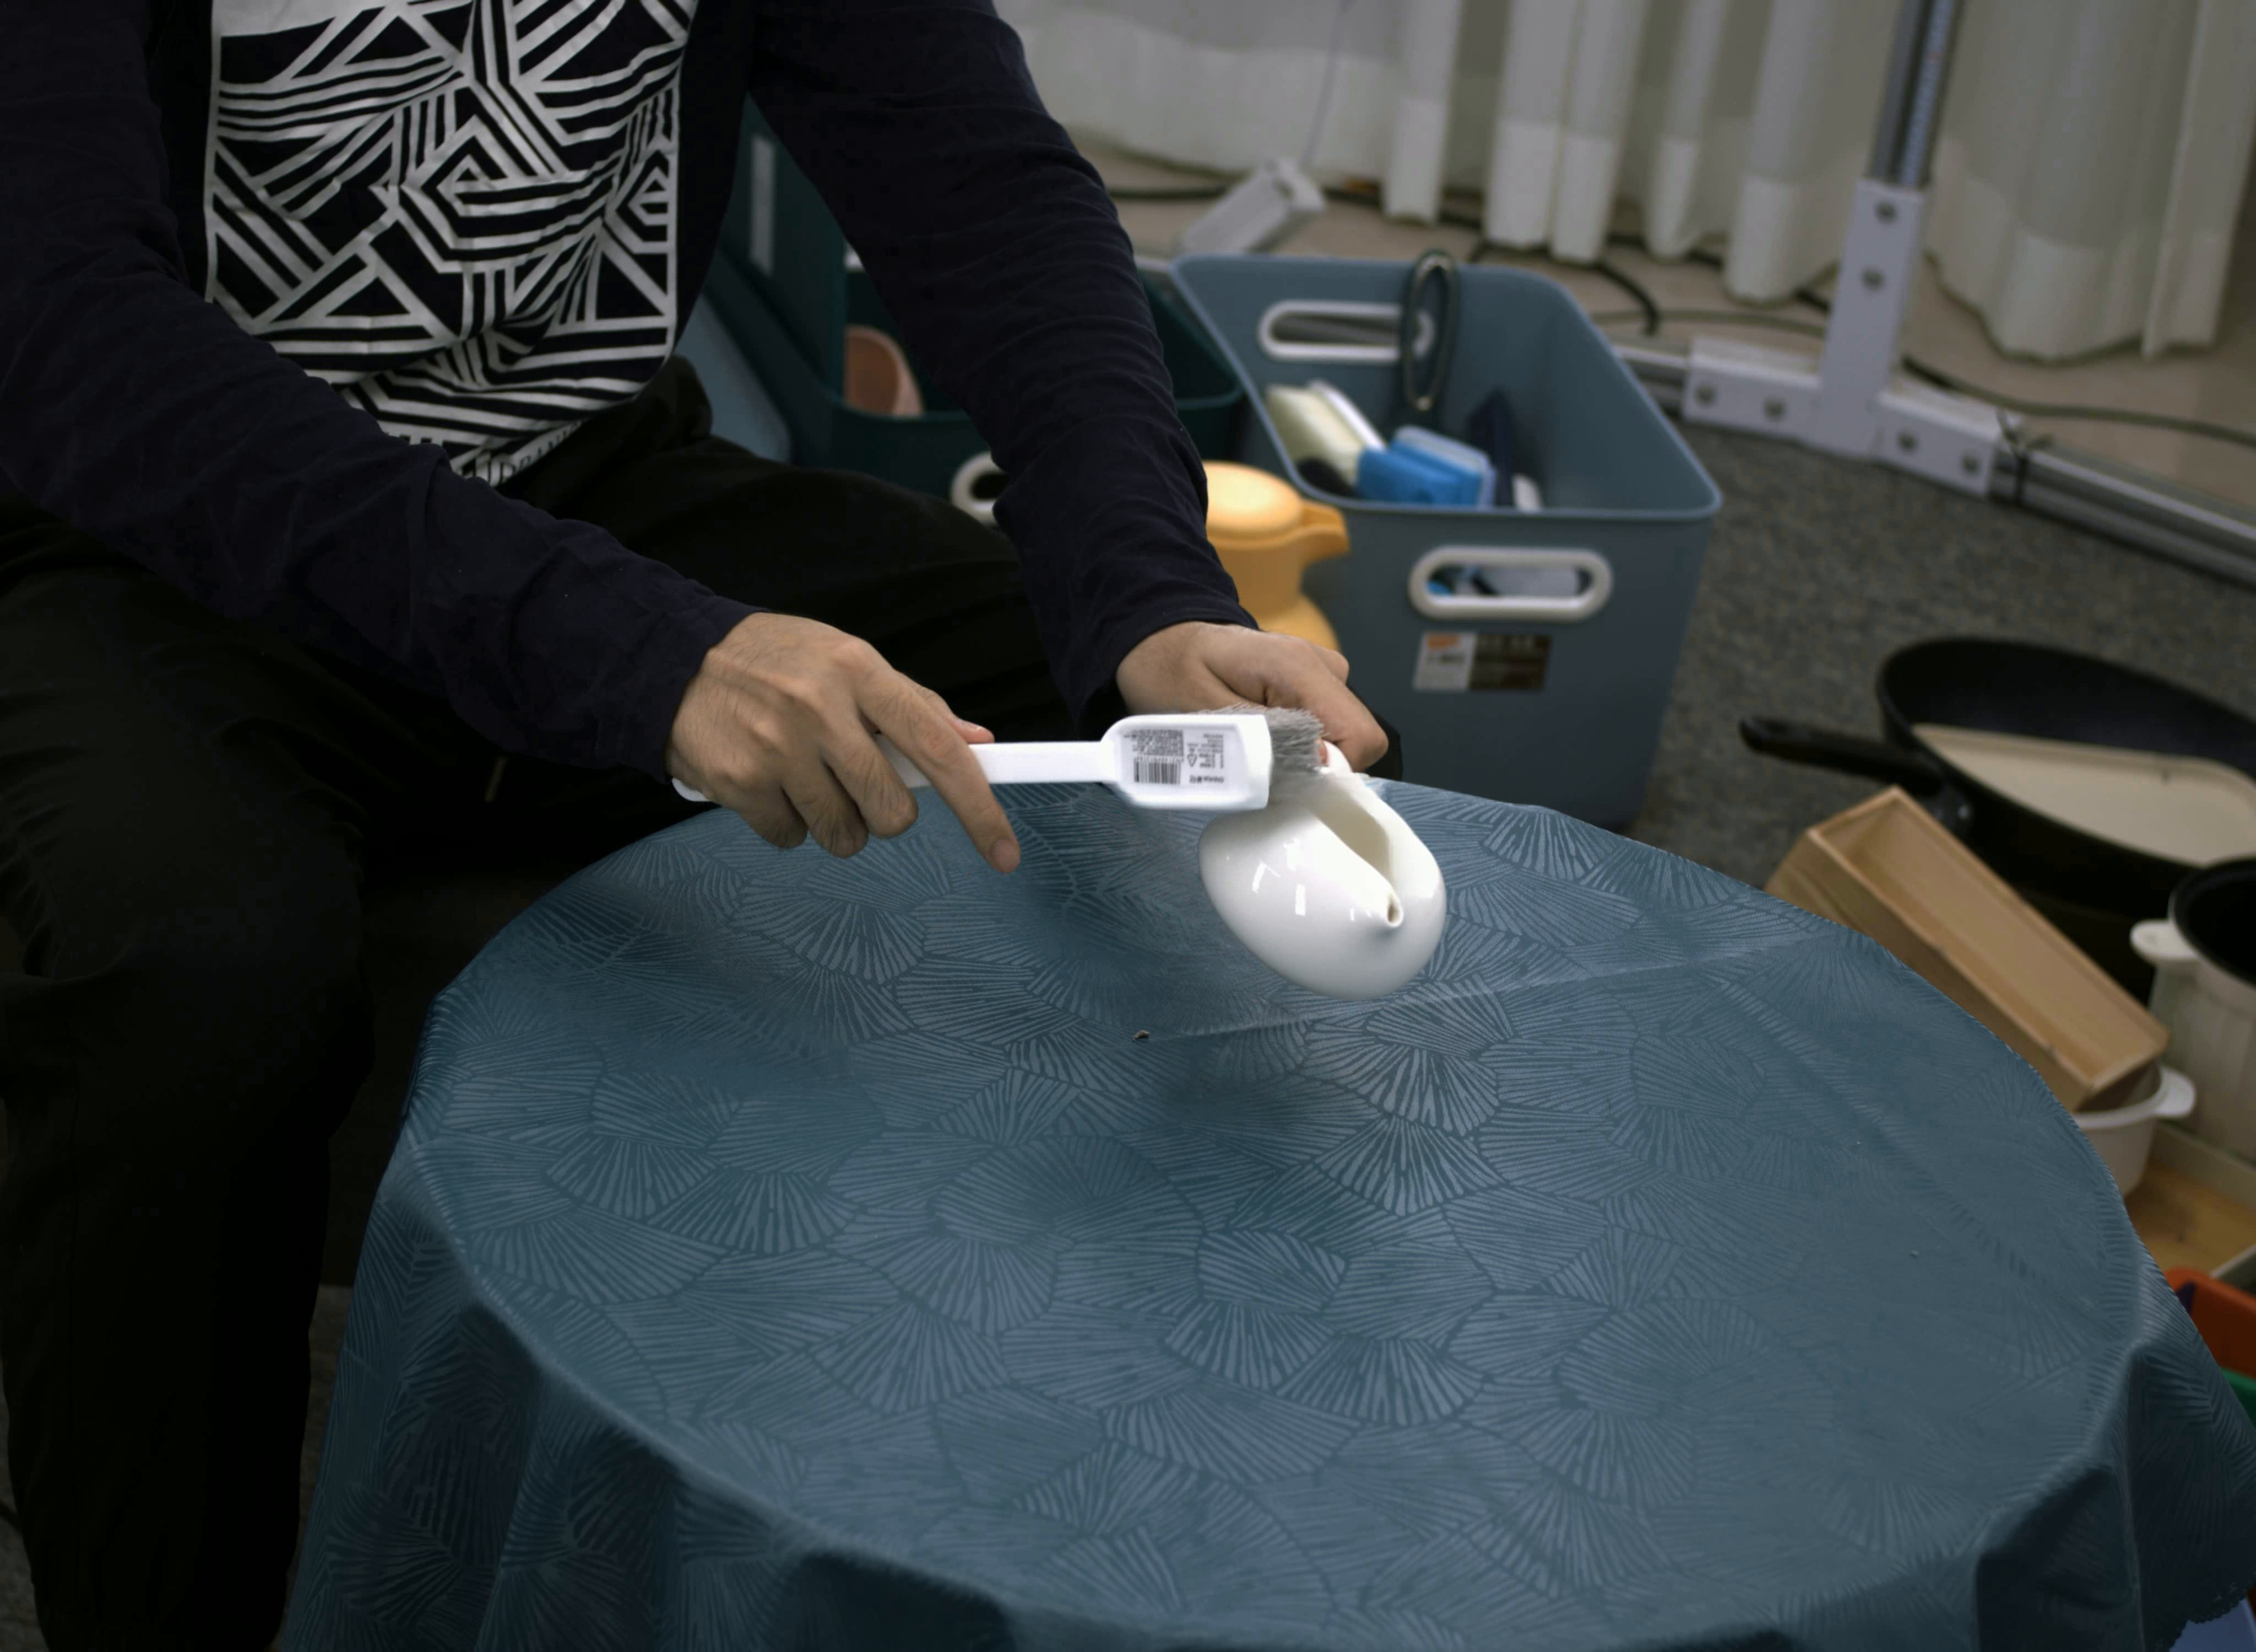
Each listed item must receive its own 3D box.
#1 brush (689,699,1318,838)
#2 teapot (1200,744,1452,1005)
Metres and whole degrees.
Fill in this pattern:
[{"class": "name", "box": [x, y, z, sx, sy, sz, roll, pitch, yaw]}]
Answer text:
[{"class": "brush", "box": [-0.044, -0.018, 1.872, 0.244, 0.034, 0.050, -4, 8, 31]}, {"class": "teapot", "box": [0.066, 0.015, 1.870, 0.092, 0.056, 0.128, 21, 27, -28]}]
